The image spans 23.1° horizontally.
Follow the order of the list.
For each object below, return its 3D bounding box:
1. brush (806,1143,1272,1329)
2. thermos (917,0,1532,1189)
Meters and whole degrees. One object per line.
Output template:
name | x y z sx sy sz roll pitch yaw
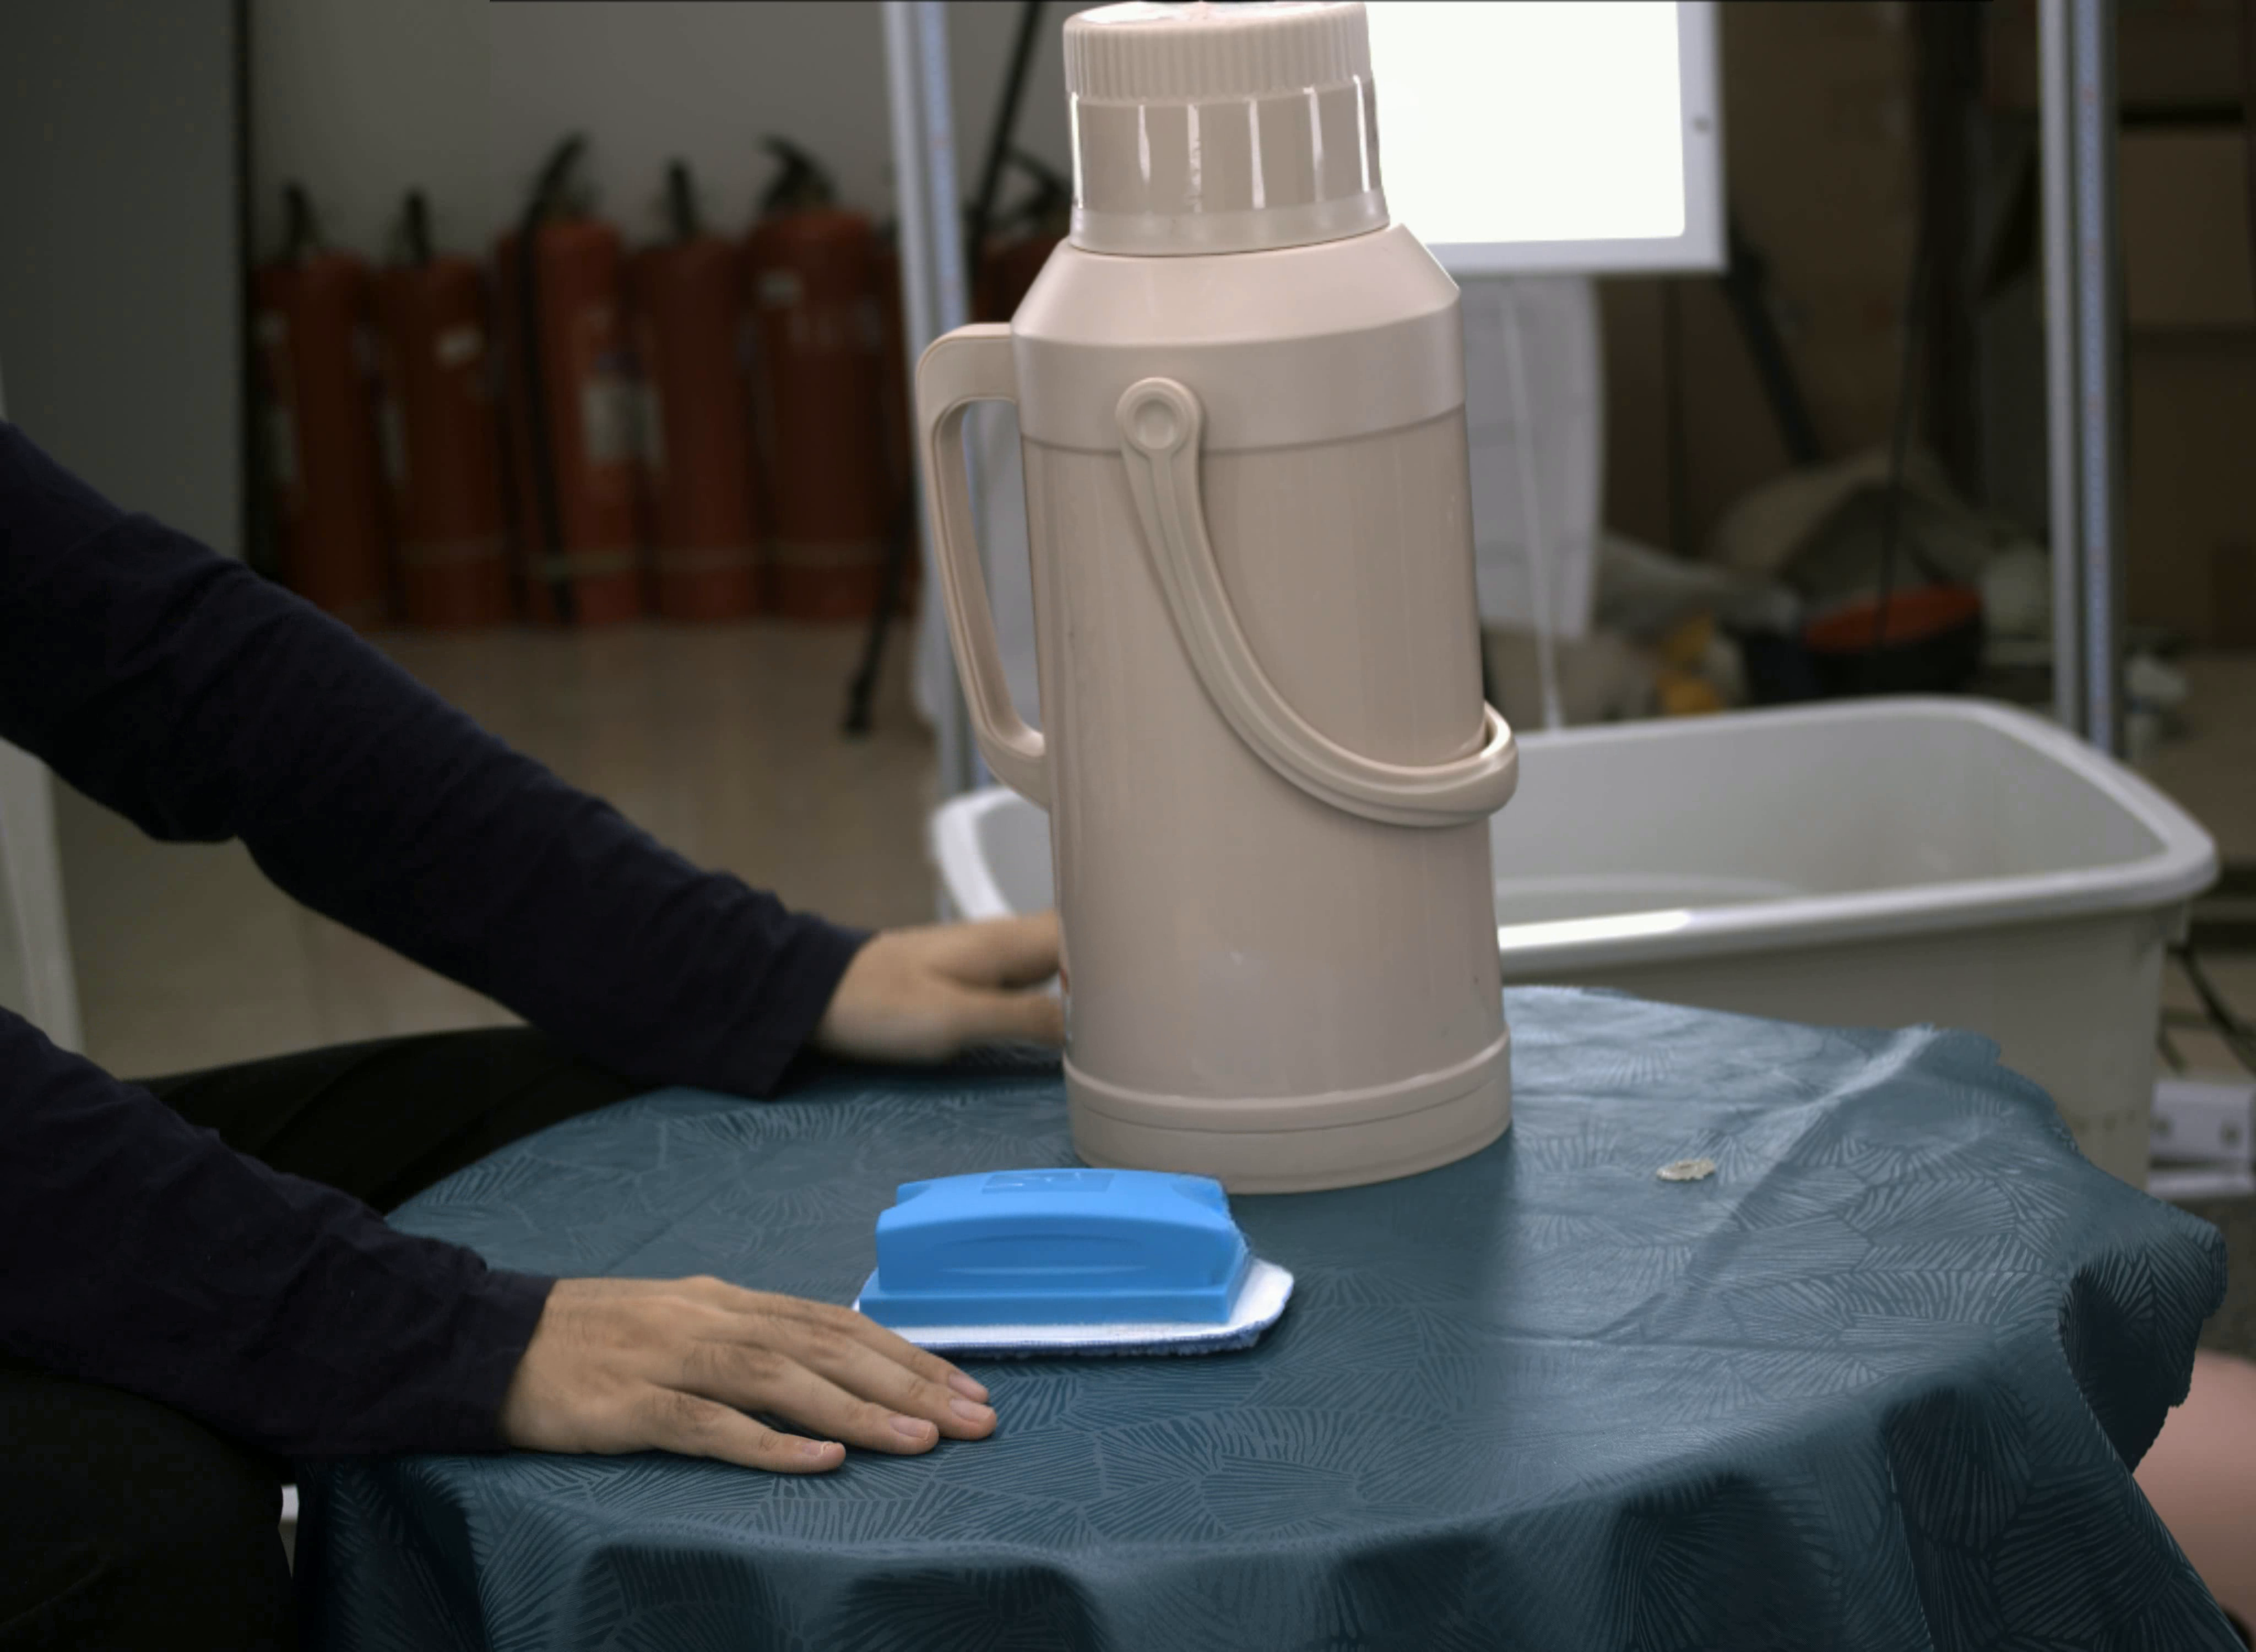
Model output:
brush | -0.028 0.131 1.759 0.145 0.056 0.083 1 12 15
thermos | 0.034 -0.086 1.918 0.210 0.408 0.172 0 16 21
